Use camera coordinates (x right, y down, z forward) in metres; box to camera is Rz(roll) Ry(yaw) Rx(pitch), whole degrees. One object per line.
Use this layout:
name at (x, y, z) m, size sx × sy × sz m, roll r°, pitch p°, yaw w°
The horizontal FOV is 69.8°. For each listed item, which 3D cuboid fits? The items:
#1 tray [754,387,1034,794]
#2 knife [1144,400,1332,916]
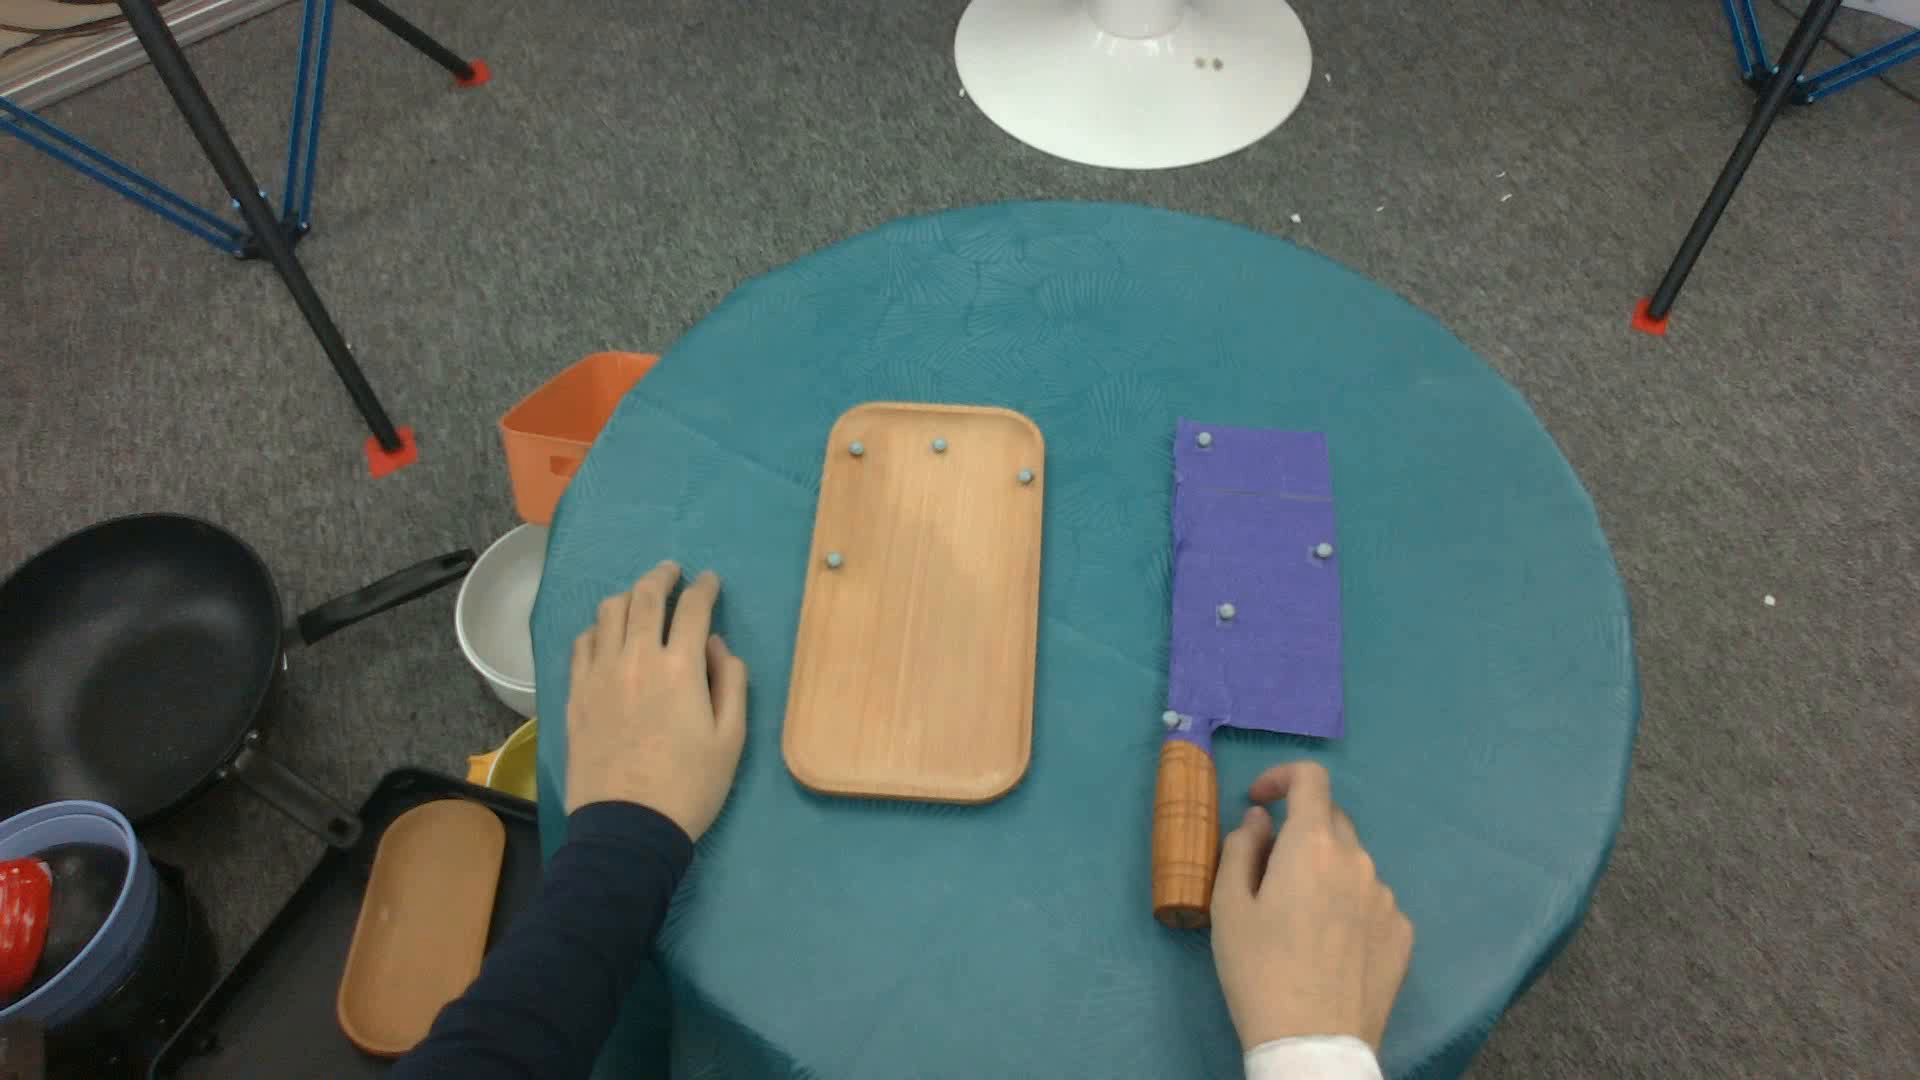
tray at (-0.030, 0.019, 0.751) m, size 0.130 × 0.023 × 0.252 m, roll 4°, pitch 57°, yaw 5°
knife at (0.147, 0.046, 0.730) m, size 0.104 × 0.032 × 0.316 m, roll 5°, pitch 55°, yaw 3°
